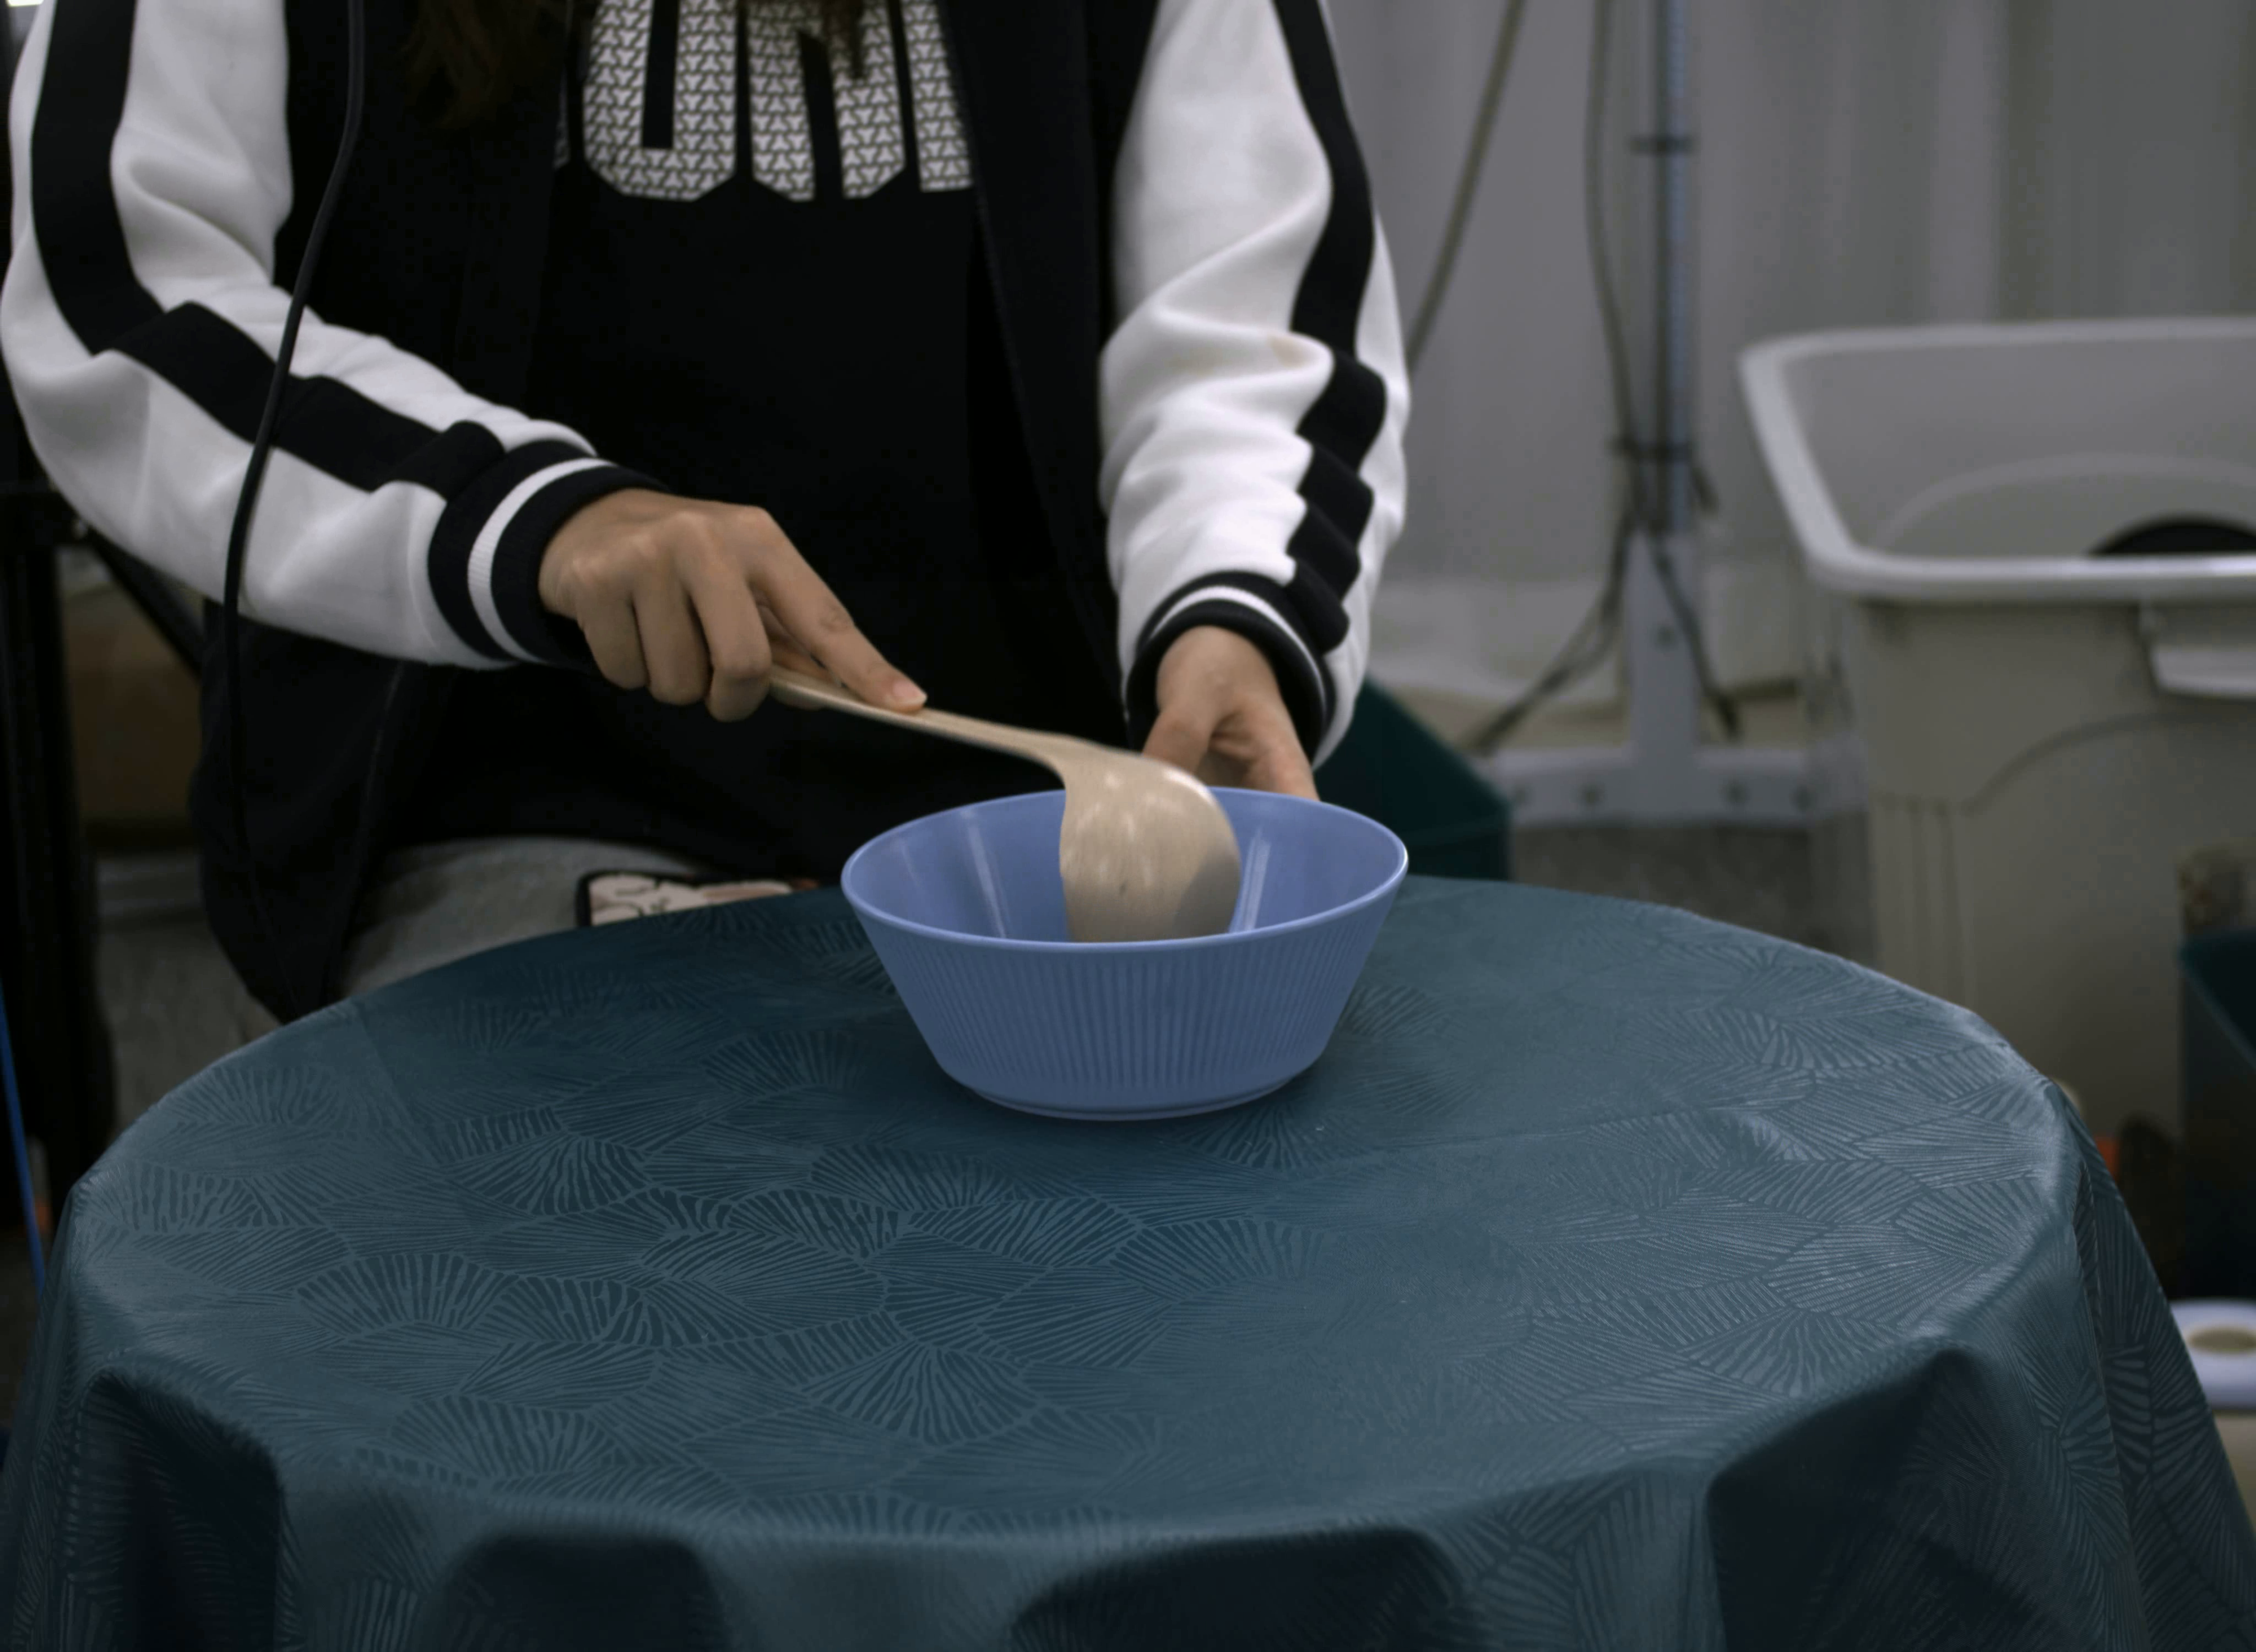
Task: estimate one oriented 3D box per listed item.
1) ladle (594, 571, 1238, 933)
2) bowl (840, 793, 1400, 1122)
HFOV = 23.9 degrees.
[{"bbox_3d":[-0.078,-0.011,1.714,0.259,0.073,0.070,21,24,32],"label":"ladle"},{"bbox_3d":[-0.002,0.043,1.661,0.175,0.070,0.177,-2,16,-1],"label":"bowl"}]
